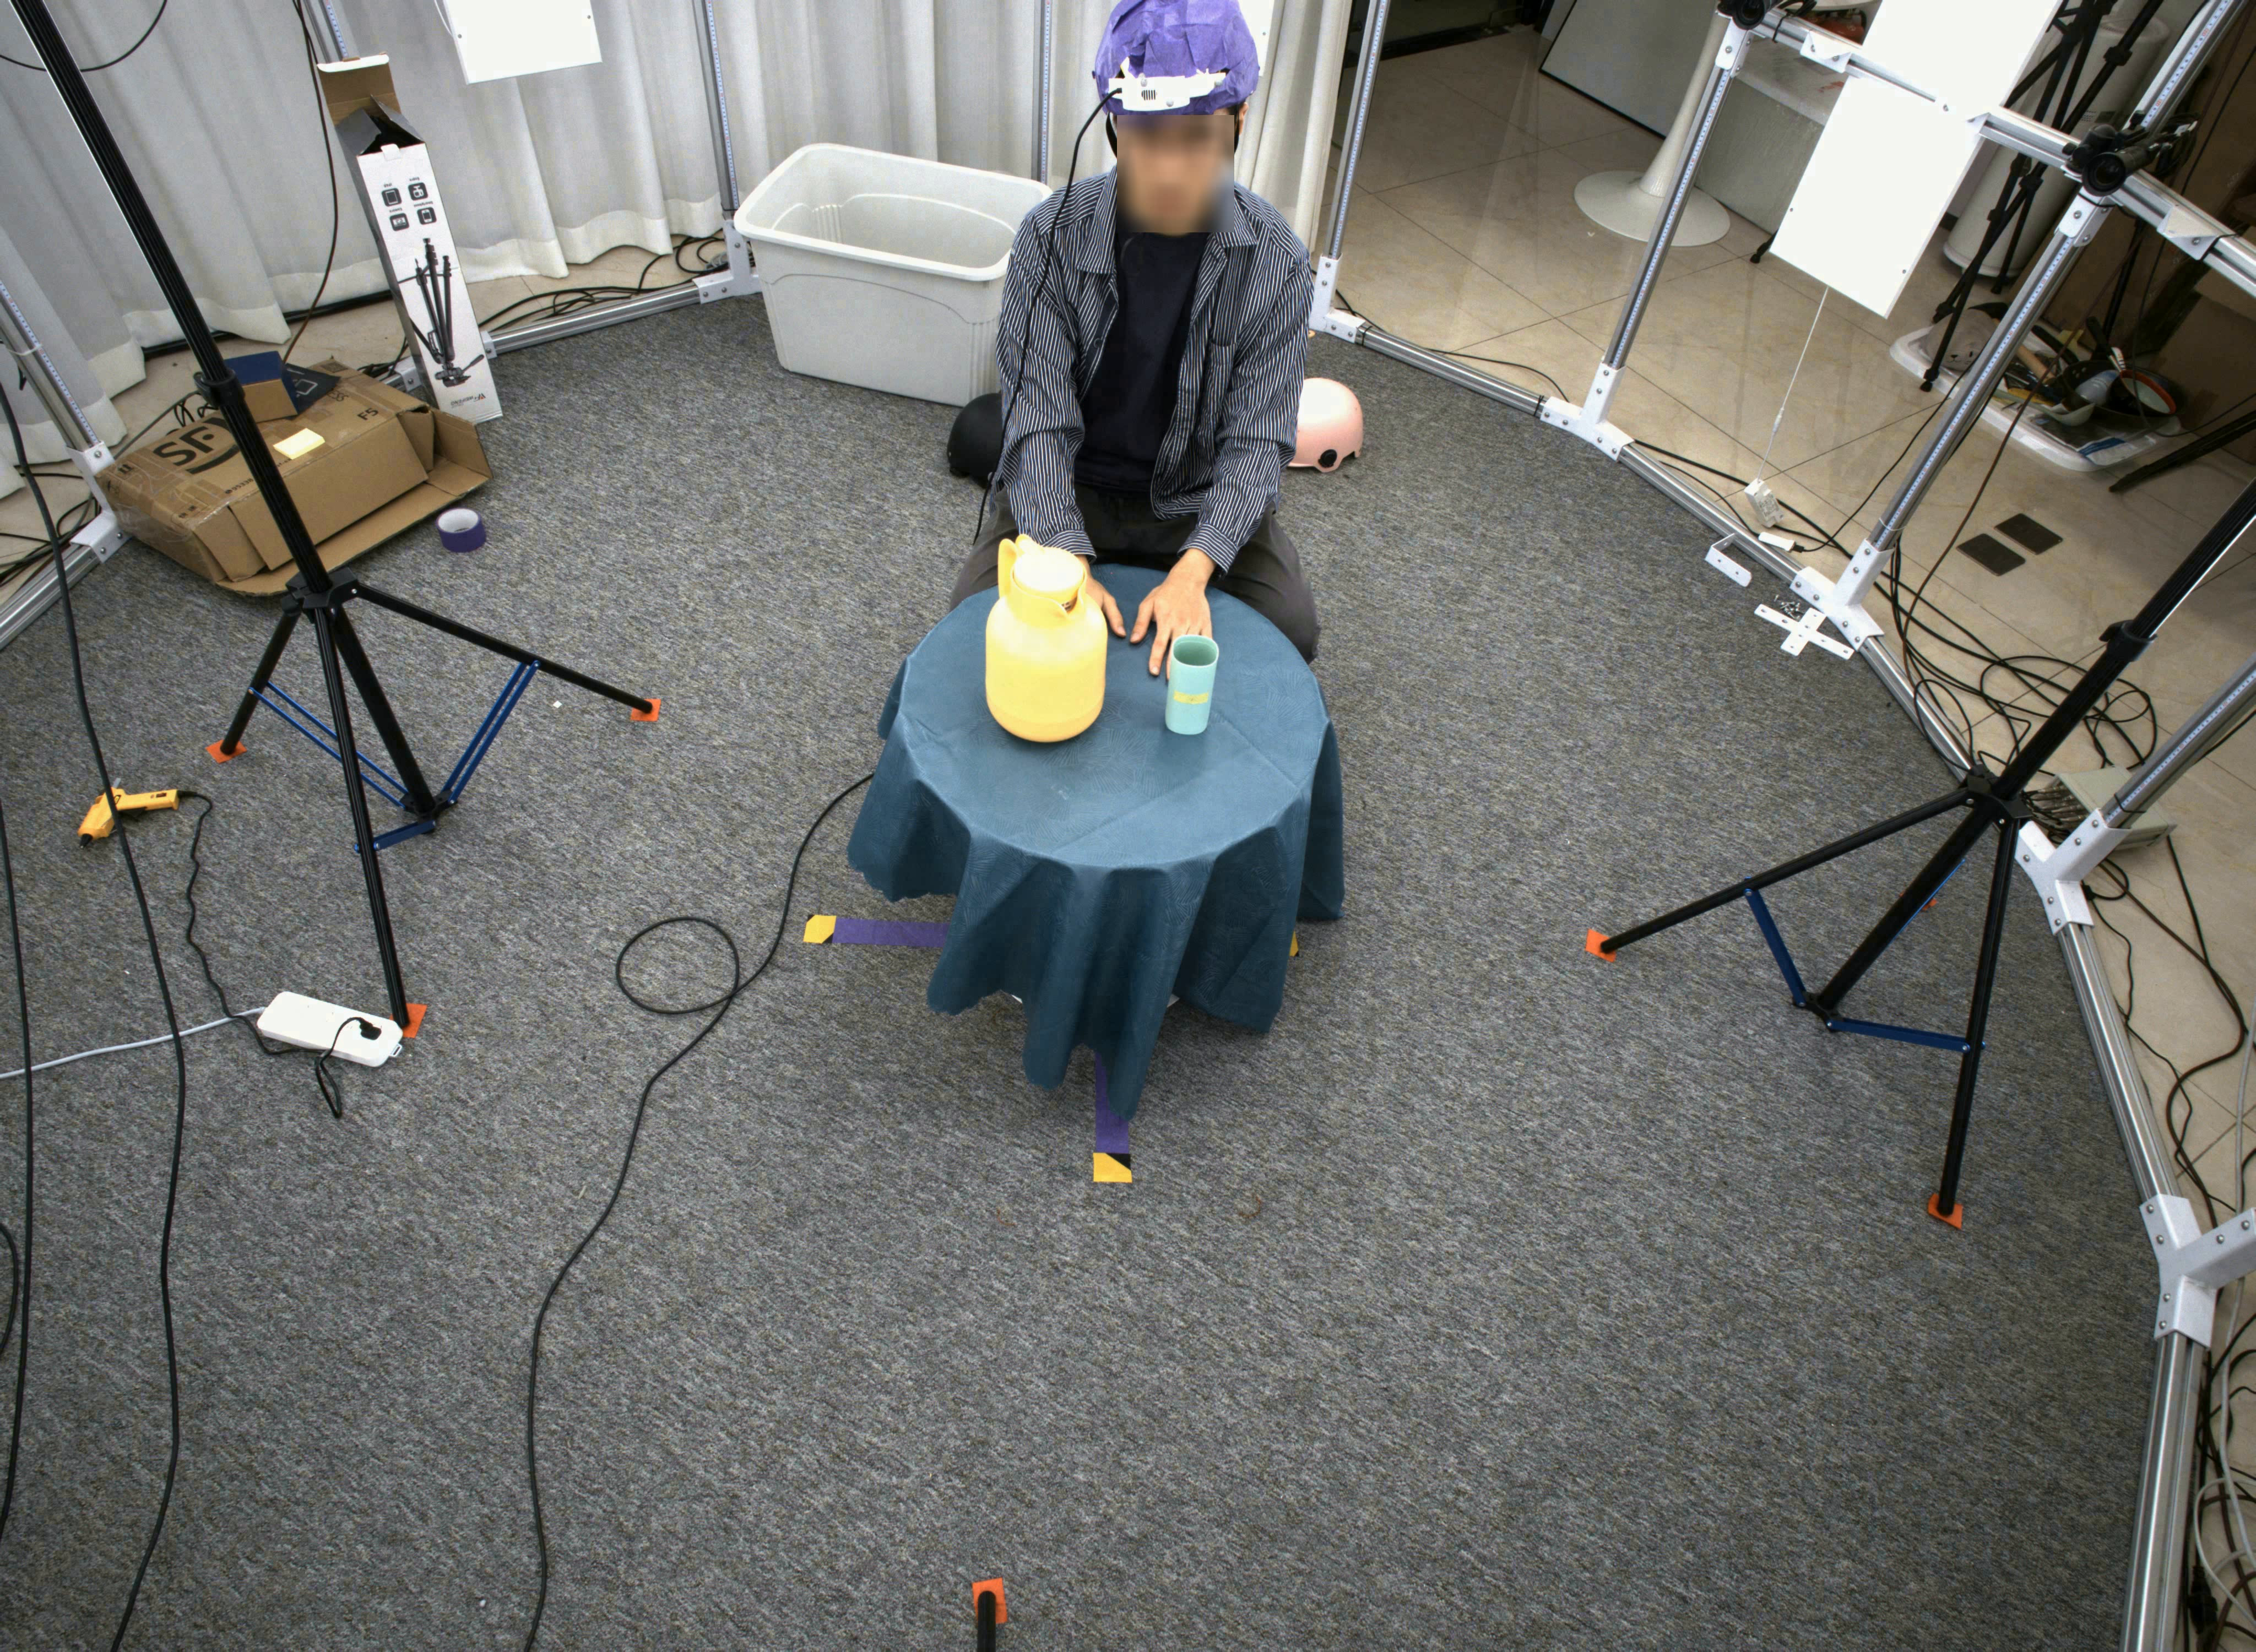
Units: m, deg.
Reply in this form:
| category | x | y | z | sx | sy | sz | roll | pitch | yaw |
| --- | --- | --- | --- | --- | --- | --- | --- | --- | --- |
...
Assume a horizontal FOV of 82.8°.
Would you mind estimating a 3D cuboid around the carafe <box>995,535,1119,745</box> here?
| category | x | y | z | sx | sy | sz | roll | pitch | yaw |
| --- | --- | --- | --- | --- | --- | --- | --- | --- | --- |
| carafe | -0.102 | -0.254 | 1.704 | 0.164 | 0.254 | 0.206 | -22 | 54 | -24 |

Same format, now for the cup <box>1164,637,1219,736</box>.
| category | x | y | z | sx | sy | sz | roll | pitch | yaw |
| --- | --- | --- | --- | --- | --- | --- | --- | --- | --- |
| cup | 0.085 | -0.190 | 1.750 | 0.066 | 0.129 | 0.068 | 3 | 50 | -3 |
